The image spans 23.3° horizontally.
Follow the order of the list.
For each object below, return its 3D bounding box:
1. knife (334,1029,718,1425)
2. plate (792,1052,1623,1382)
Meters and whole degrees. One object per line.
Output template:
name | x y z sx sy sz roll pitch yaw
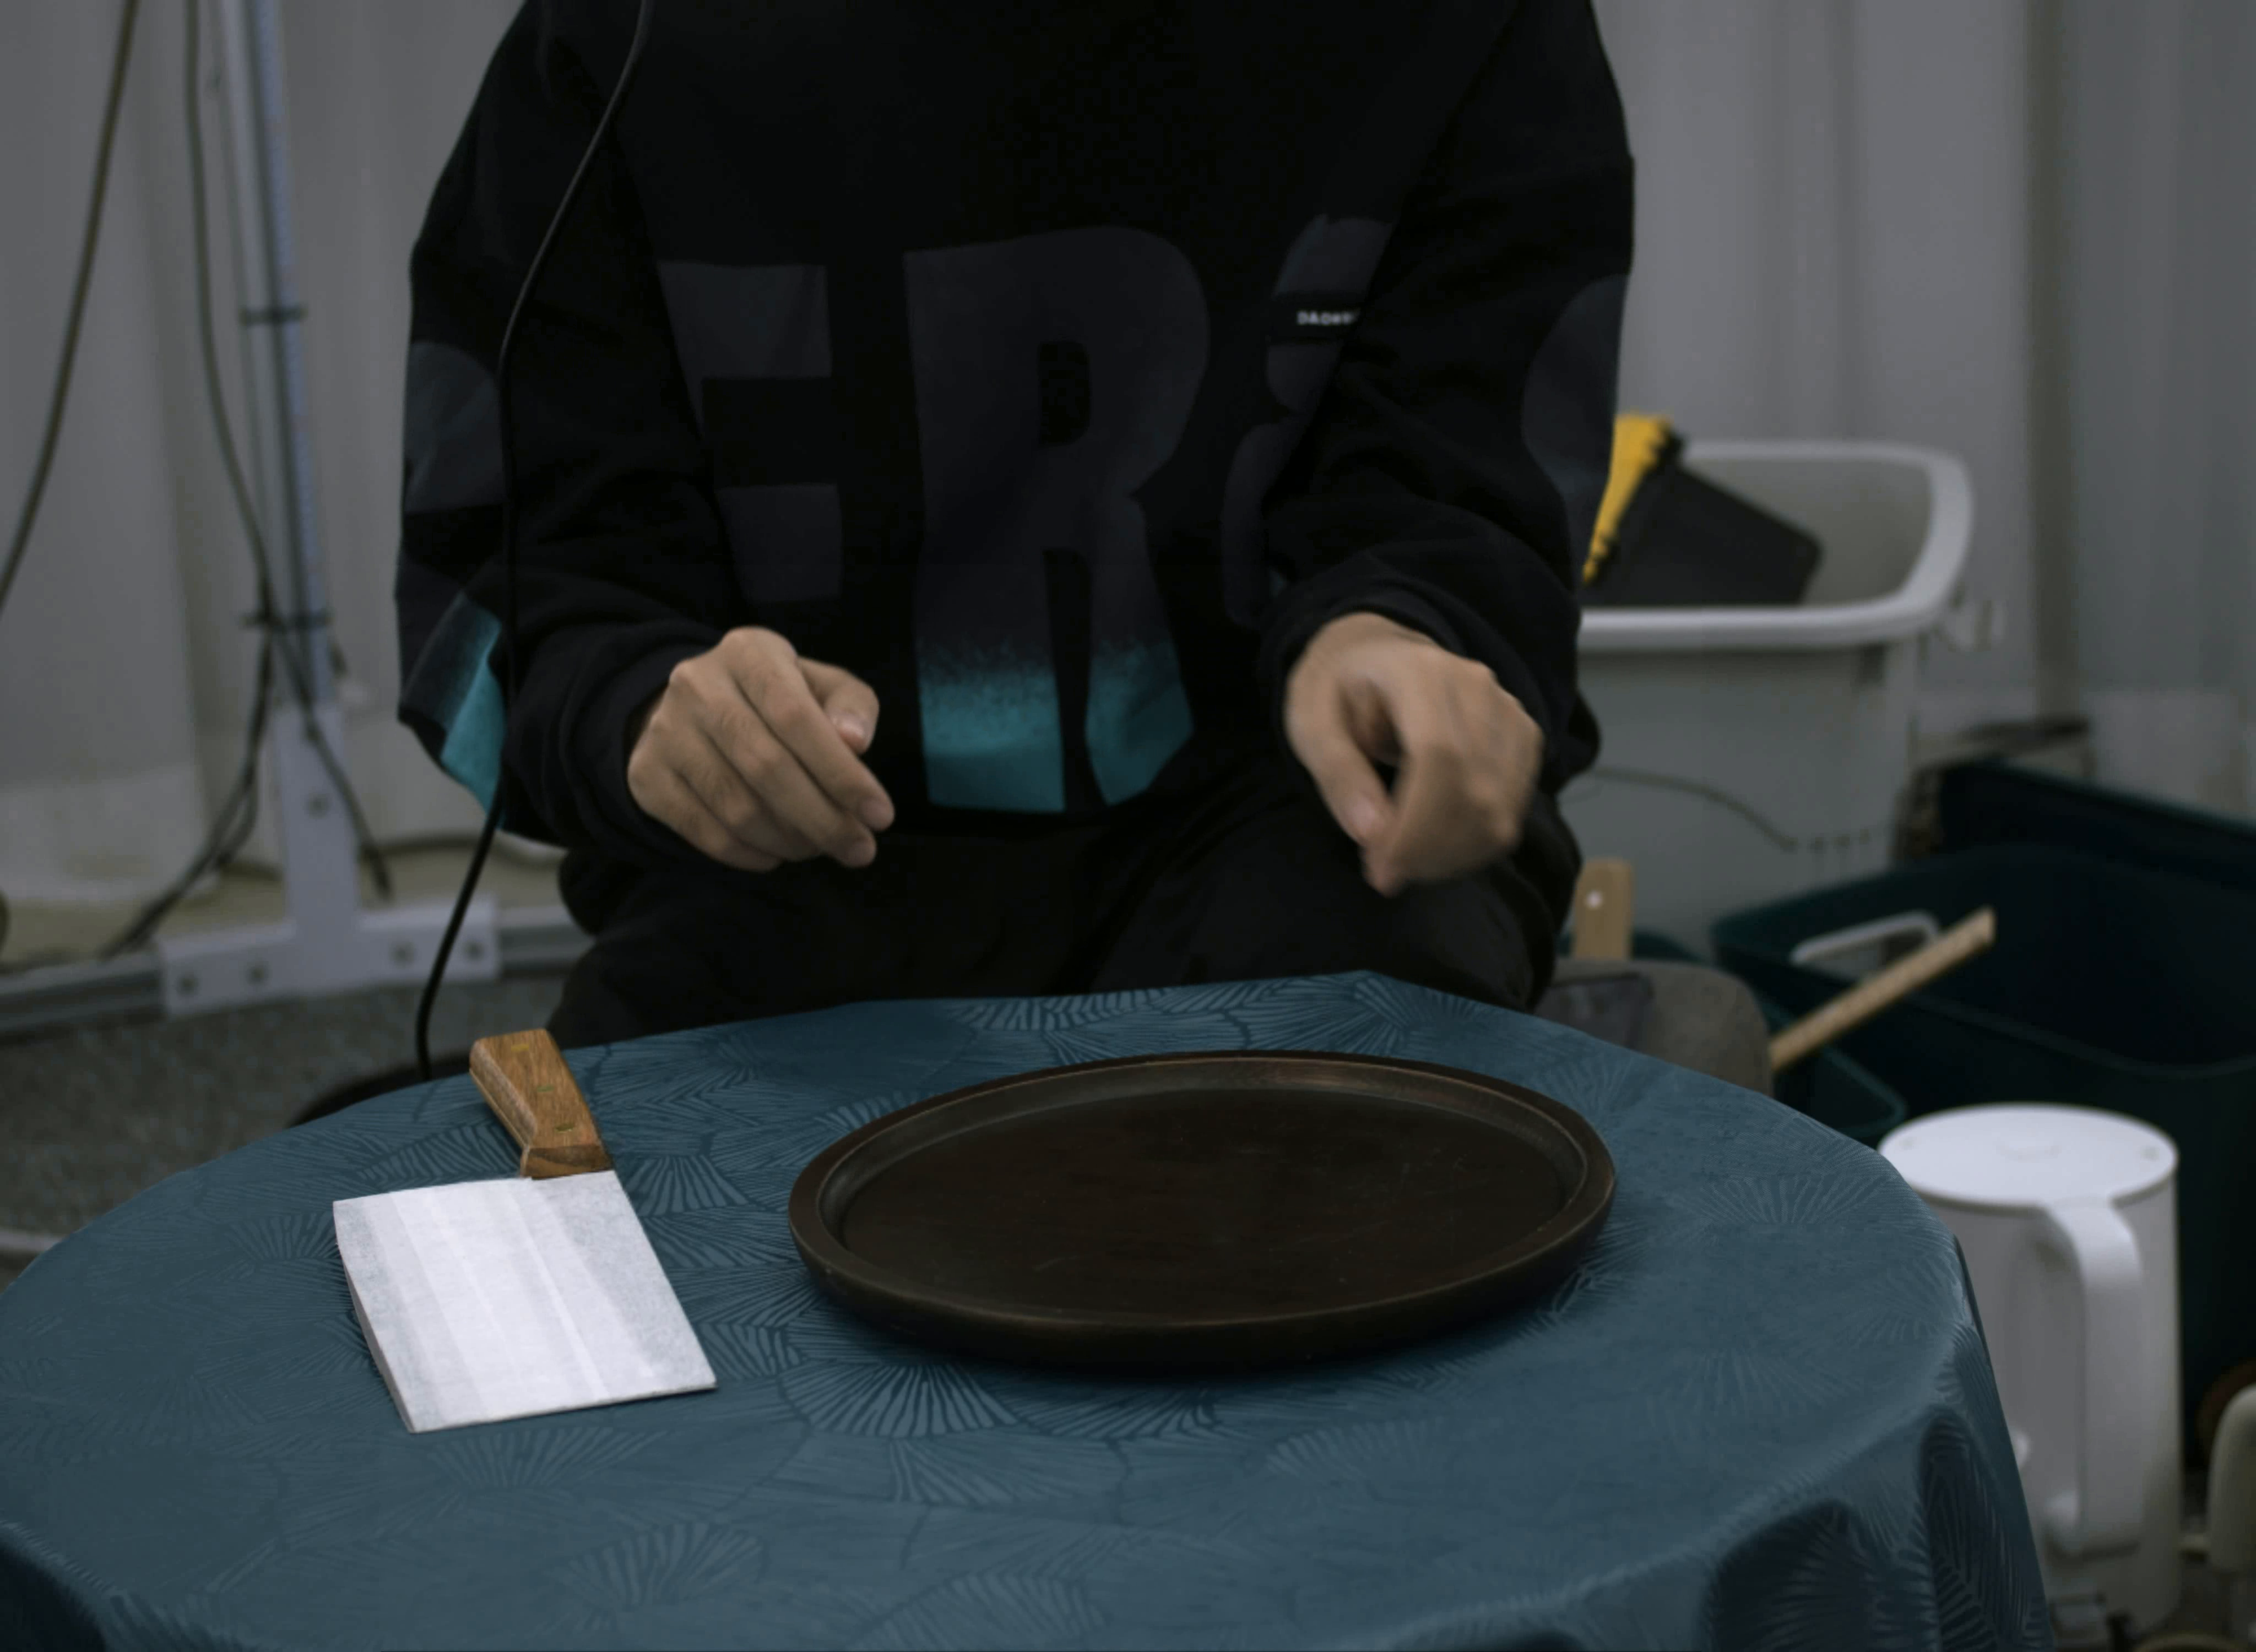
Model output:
knife | -0.196 0.123 1.694 0.092 0.021 0.308 -8 18 -13
plate | 0.024 0.116 1.659 0.254 0.029 0.256 -2 16 0
